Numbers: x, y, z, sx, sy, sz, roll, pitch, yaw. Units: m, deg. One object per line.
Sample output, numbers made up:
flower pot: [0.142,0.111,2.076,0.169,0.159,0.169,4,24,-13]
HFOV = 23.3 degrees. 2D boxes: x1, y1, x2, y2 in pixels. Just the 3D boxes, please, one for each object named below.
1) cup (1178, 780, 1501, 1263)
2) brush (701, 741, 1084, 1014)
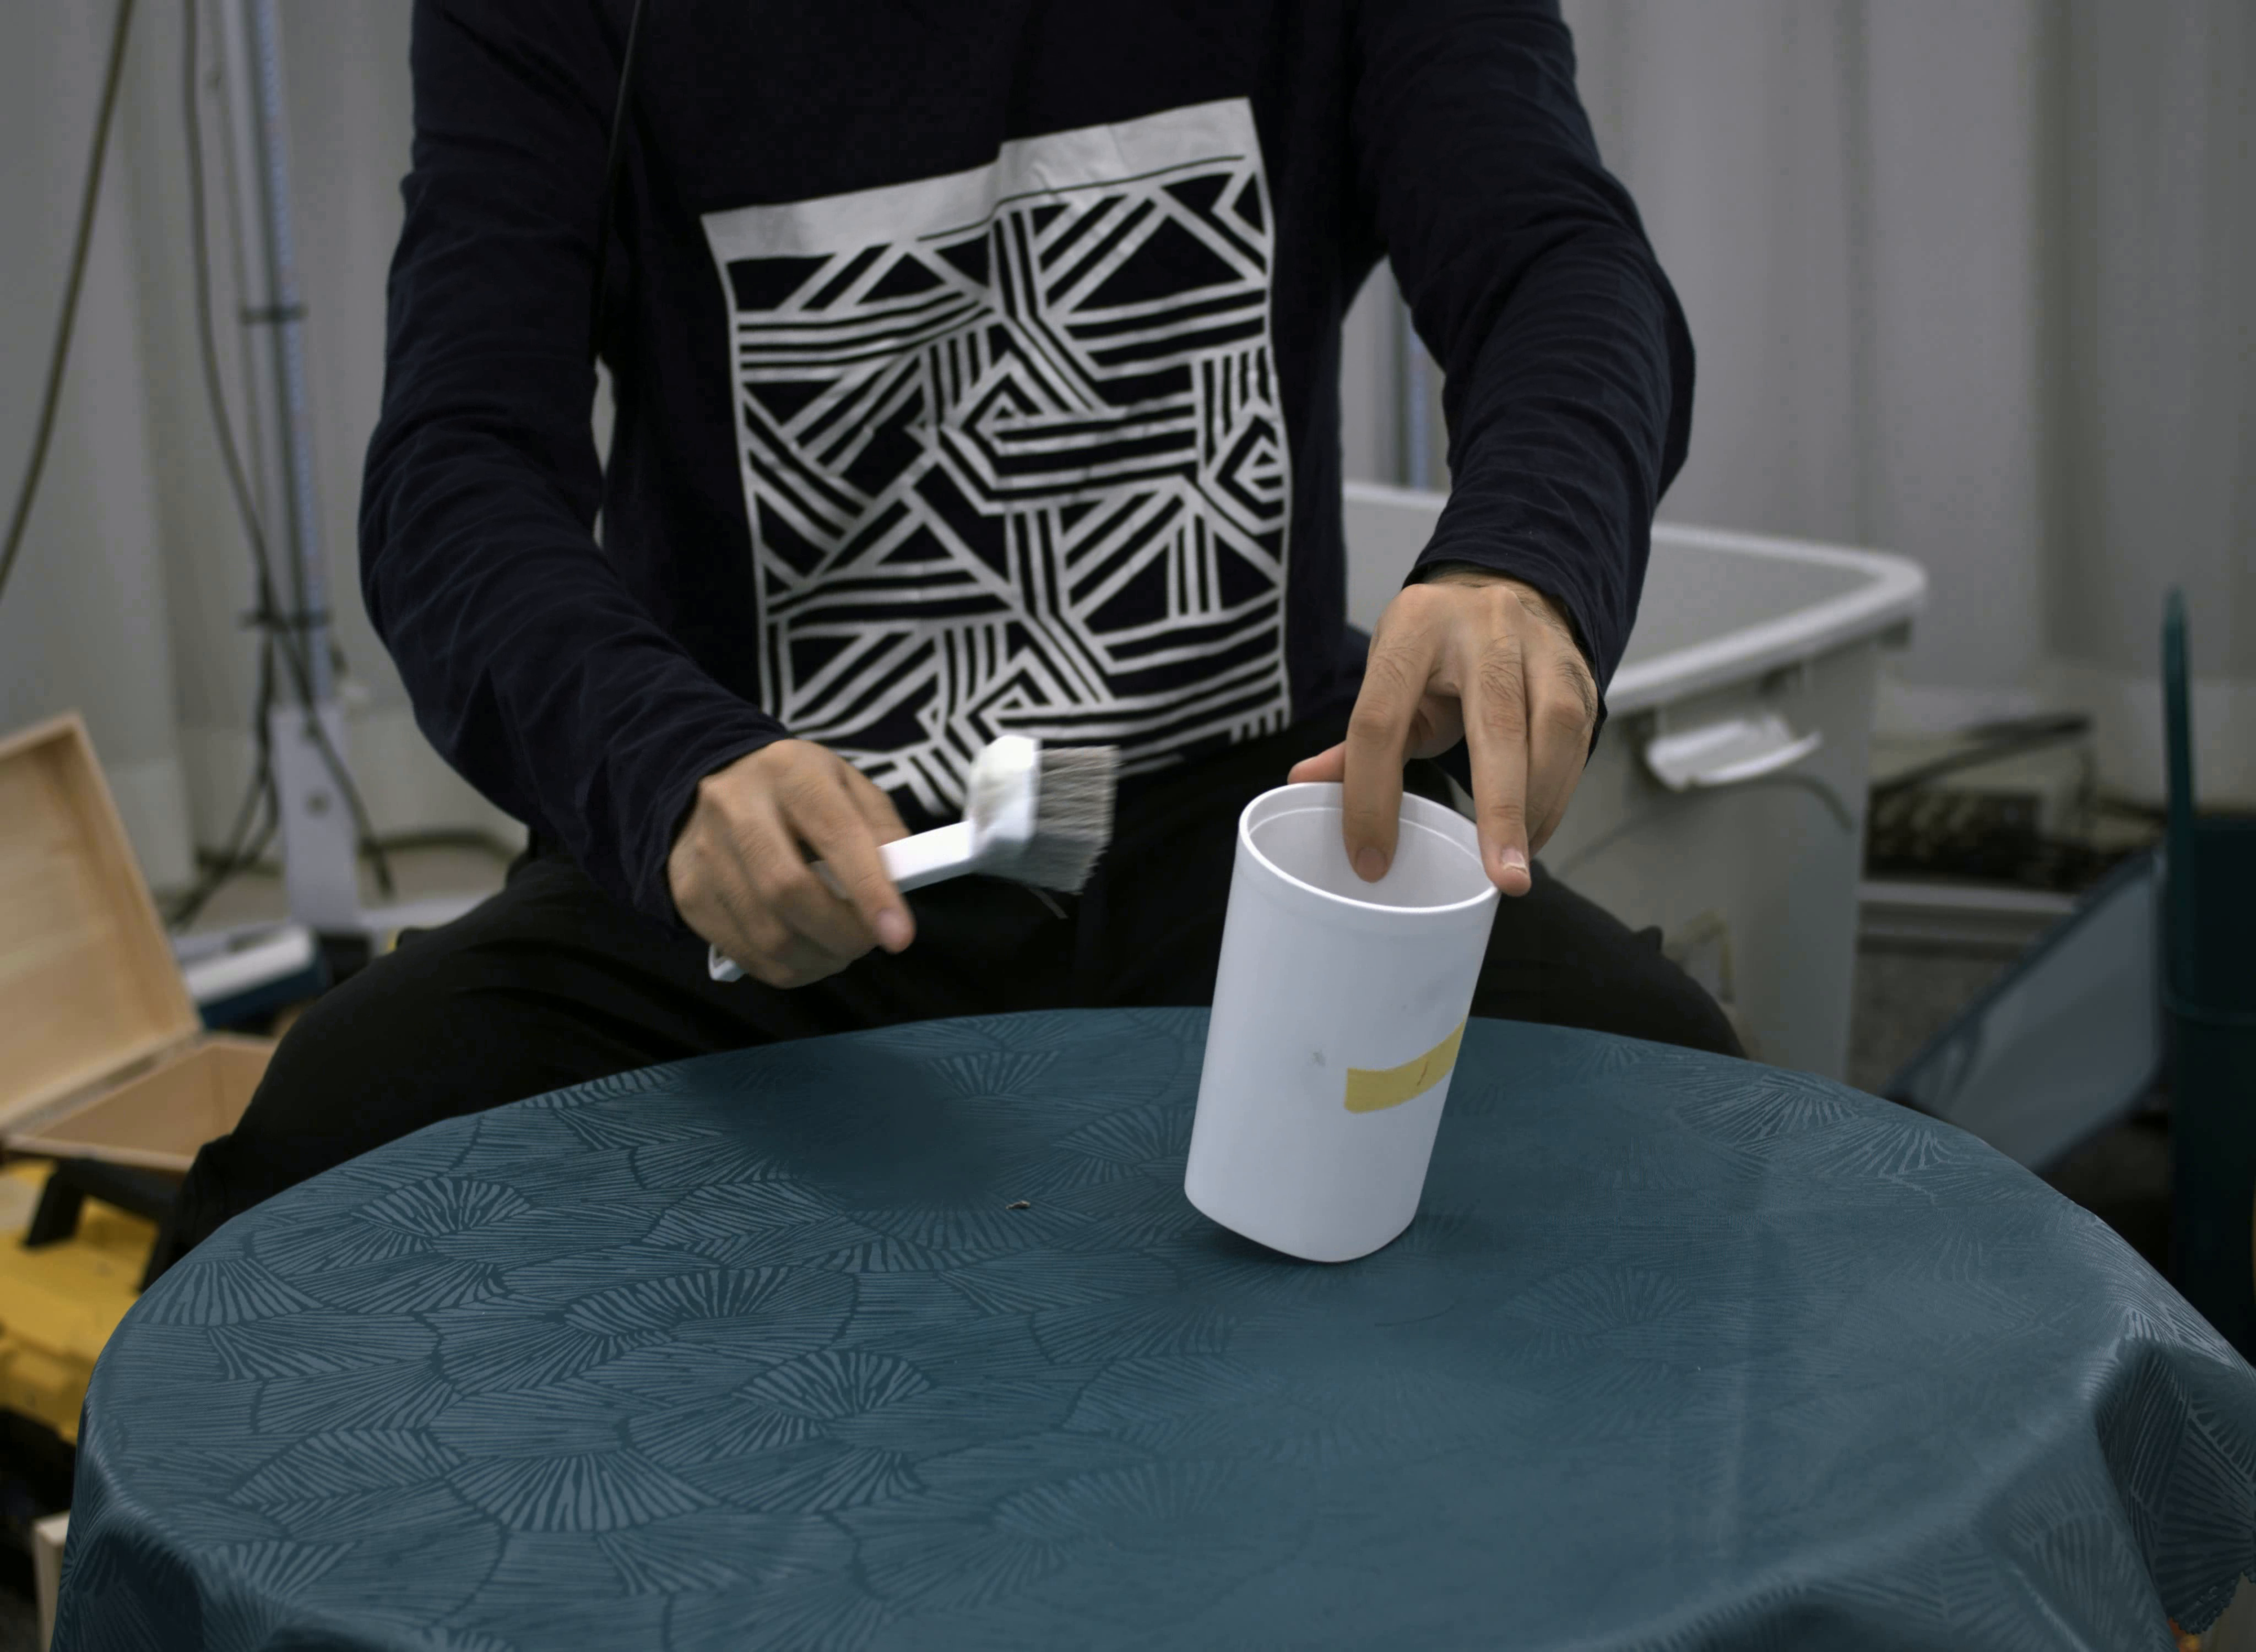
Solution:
cup: [0.061,0.060,1.645,0.081,0.124,0.082,8,24,-4]
brush: [-0.072,0.021,1.733,0.050,0.035,0.242,4,-18,-25]
